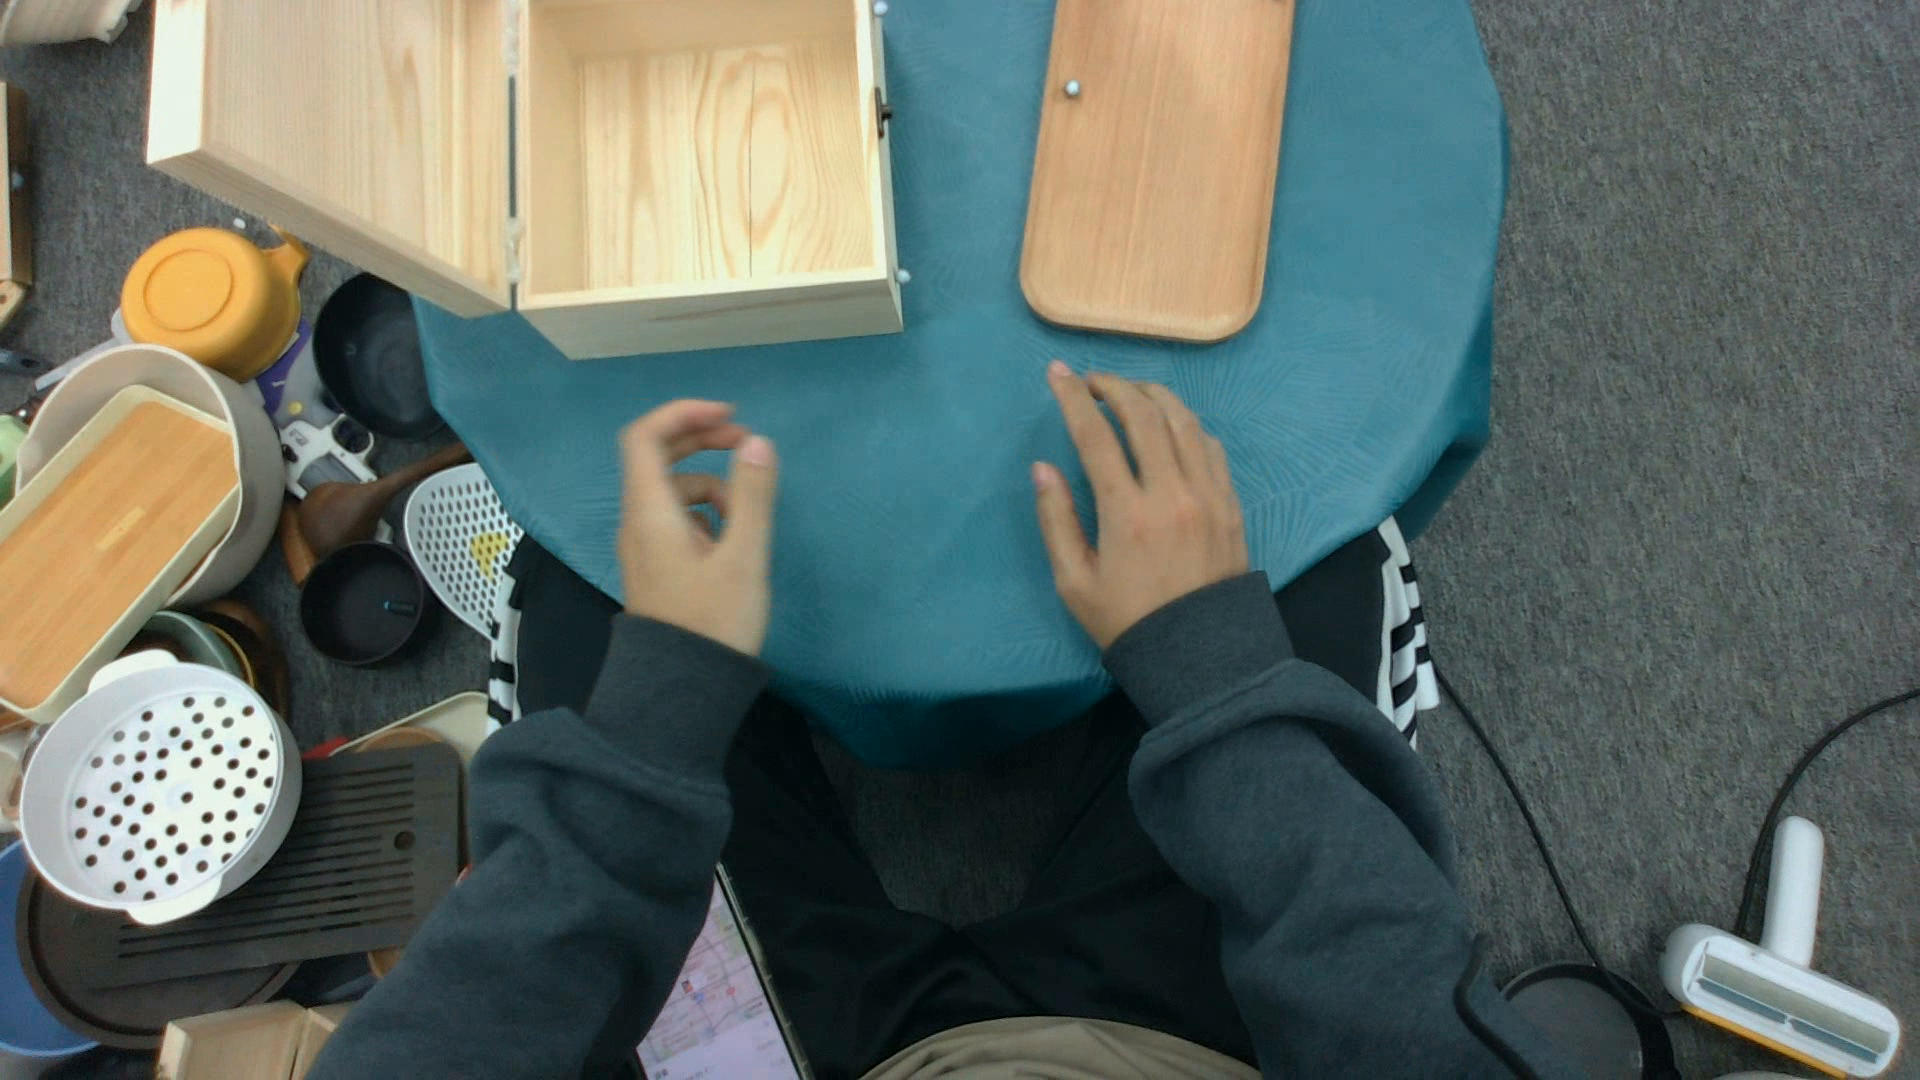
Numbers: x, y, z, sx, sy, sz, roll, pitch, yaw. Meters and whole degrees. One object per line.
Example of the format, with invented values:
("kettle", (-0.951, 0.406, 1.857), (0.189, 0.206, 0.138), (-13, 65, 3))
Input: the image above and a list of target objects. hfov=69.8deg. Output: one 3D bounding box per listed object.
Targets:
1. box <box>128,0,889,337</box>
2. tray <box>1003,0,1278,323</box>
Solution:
("box", (-0.176, -0.220, 0.632), (0.265, 0.253, 0.182), (-6, 81, 3))
("tray", (0.100, -0.238, 0.739), (0.130, 0.023, 0.251), (7, 80, 7))
